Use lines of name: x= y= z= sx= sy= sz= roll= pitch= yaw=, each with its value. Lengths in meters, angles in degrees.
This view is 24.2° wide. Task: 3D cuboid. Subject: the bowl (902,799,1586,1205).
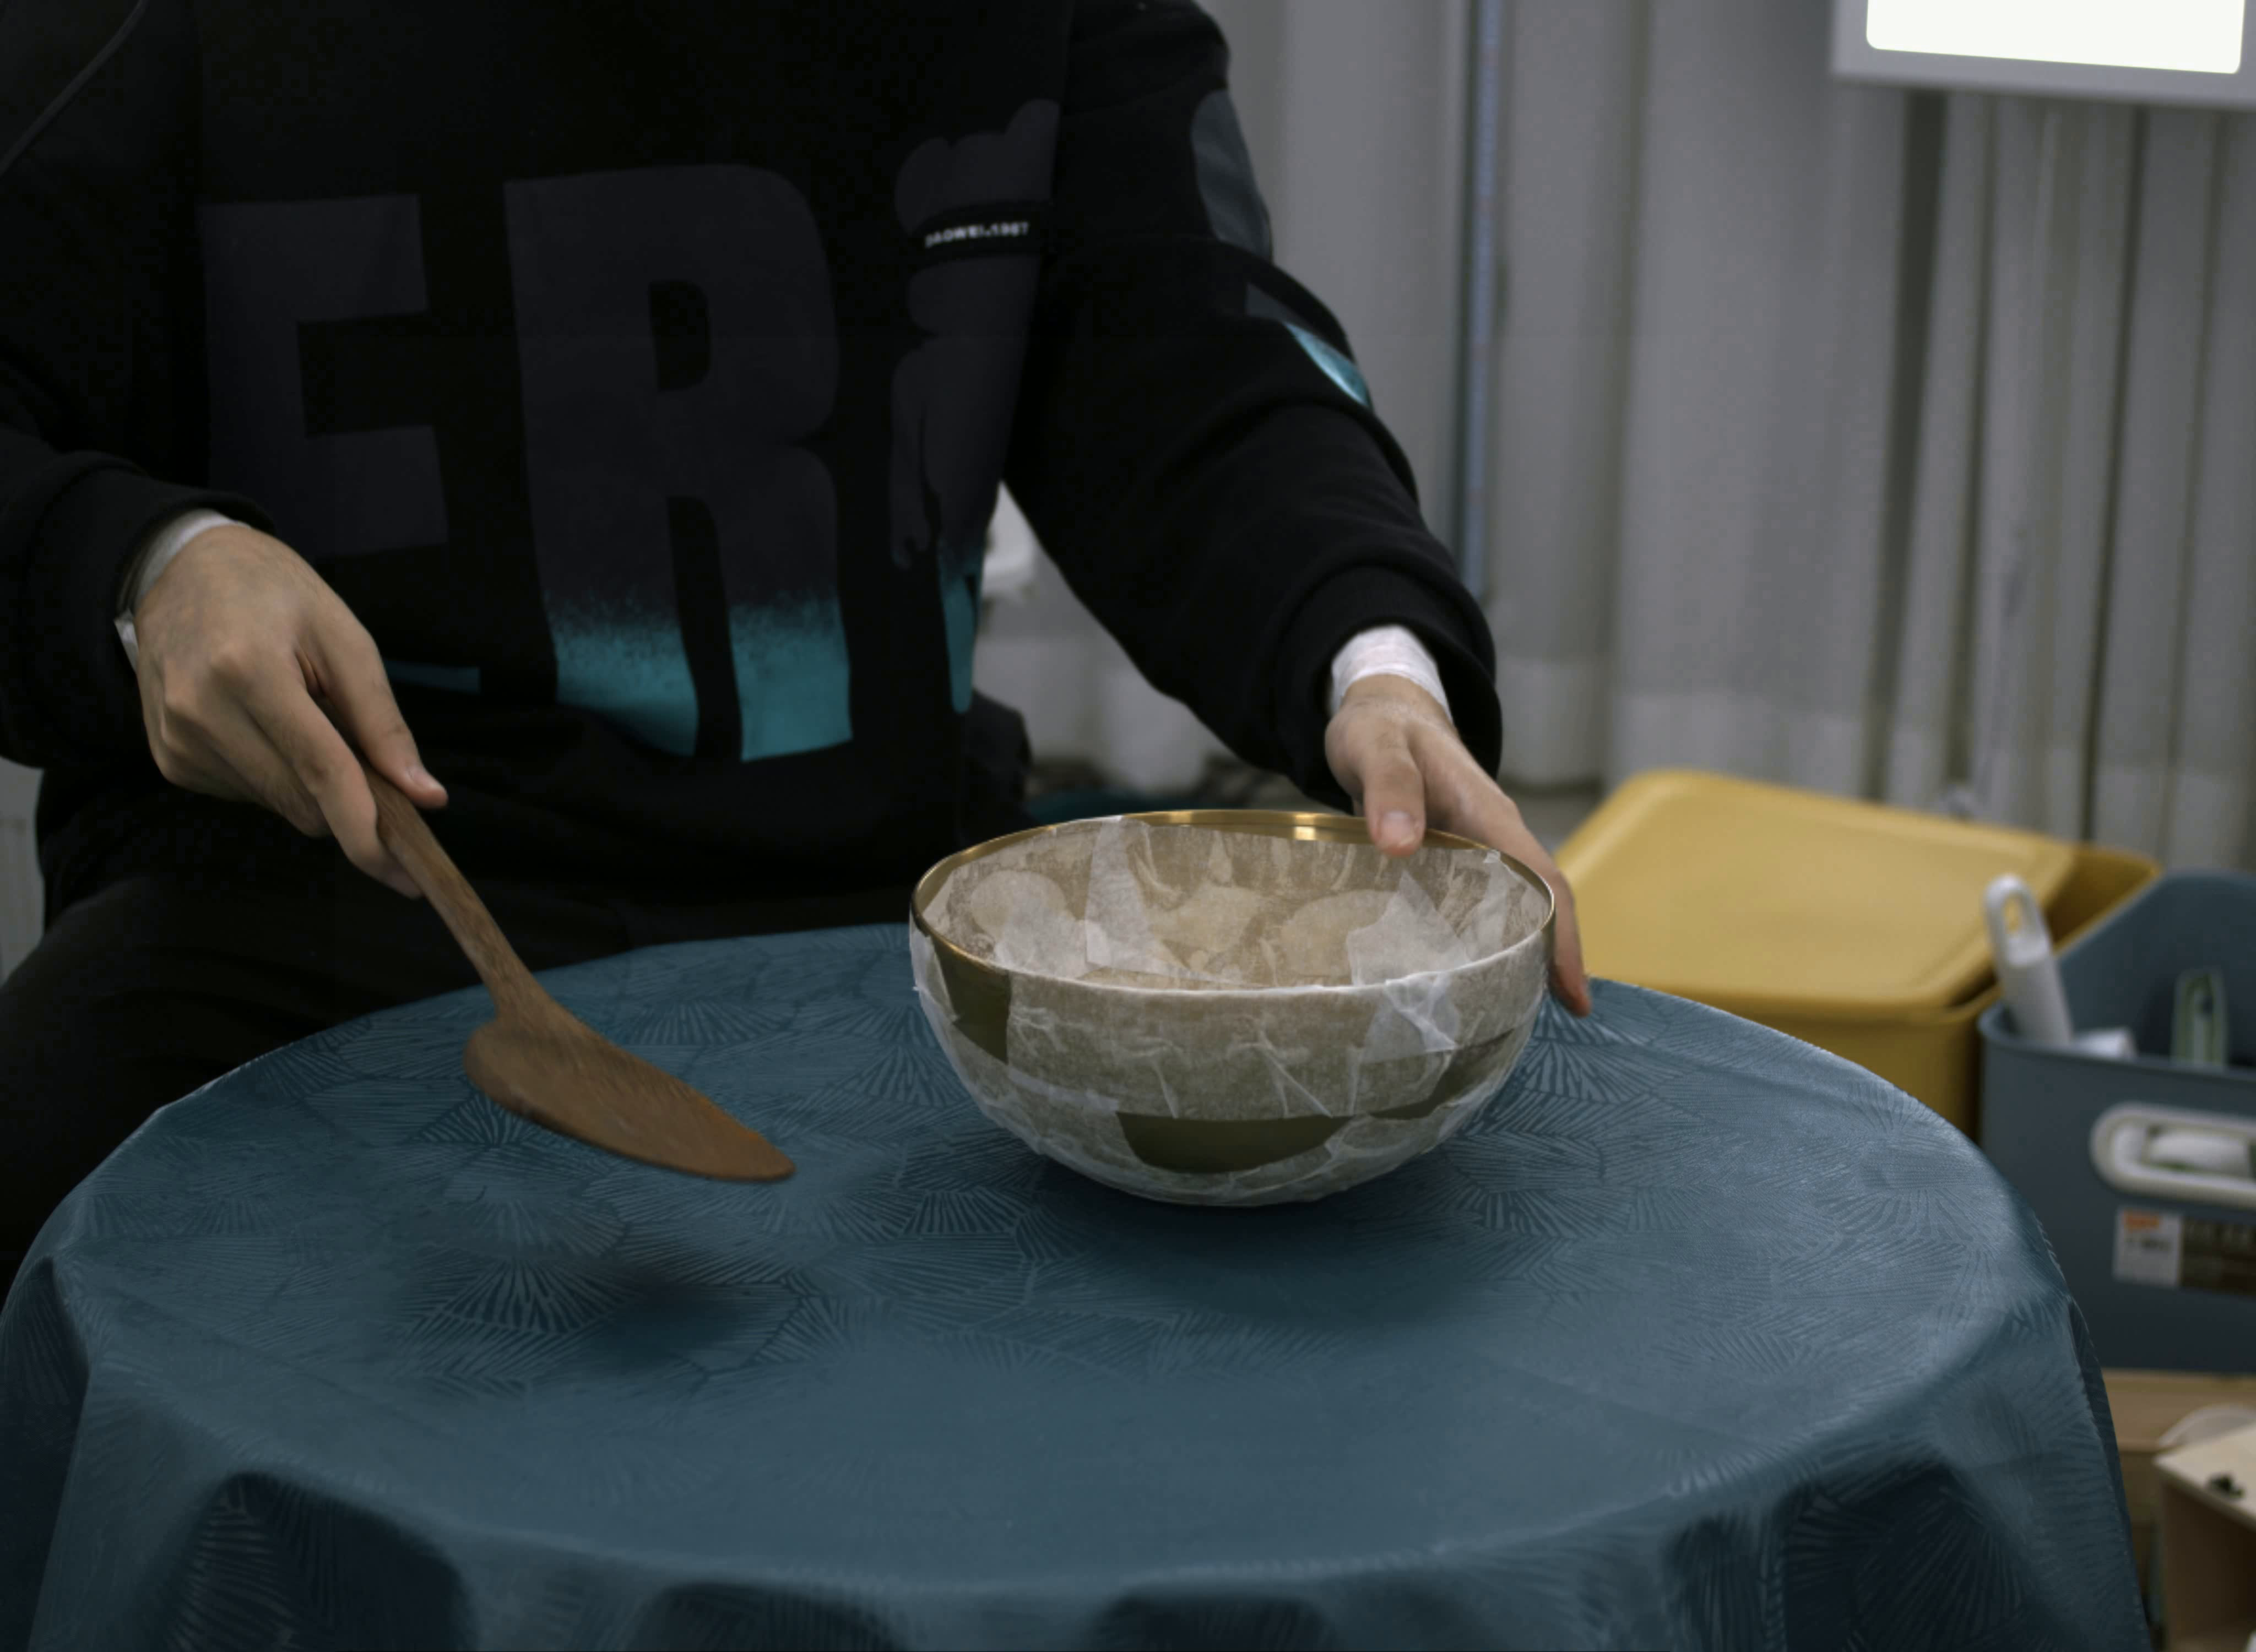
bowl: x=0.035 y=0.062 z=1.633 sx=0.214 sy=0.095 sz=0.213 roll=-1 pitch=16 yaw=1

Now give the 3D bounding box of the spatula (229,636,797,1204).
spatula: x=-0.212 y=0.020 z=1.641 sx=0.097 sy=0.016 sz=0.380 roll=15 pitch=19 yaw=-35
